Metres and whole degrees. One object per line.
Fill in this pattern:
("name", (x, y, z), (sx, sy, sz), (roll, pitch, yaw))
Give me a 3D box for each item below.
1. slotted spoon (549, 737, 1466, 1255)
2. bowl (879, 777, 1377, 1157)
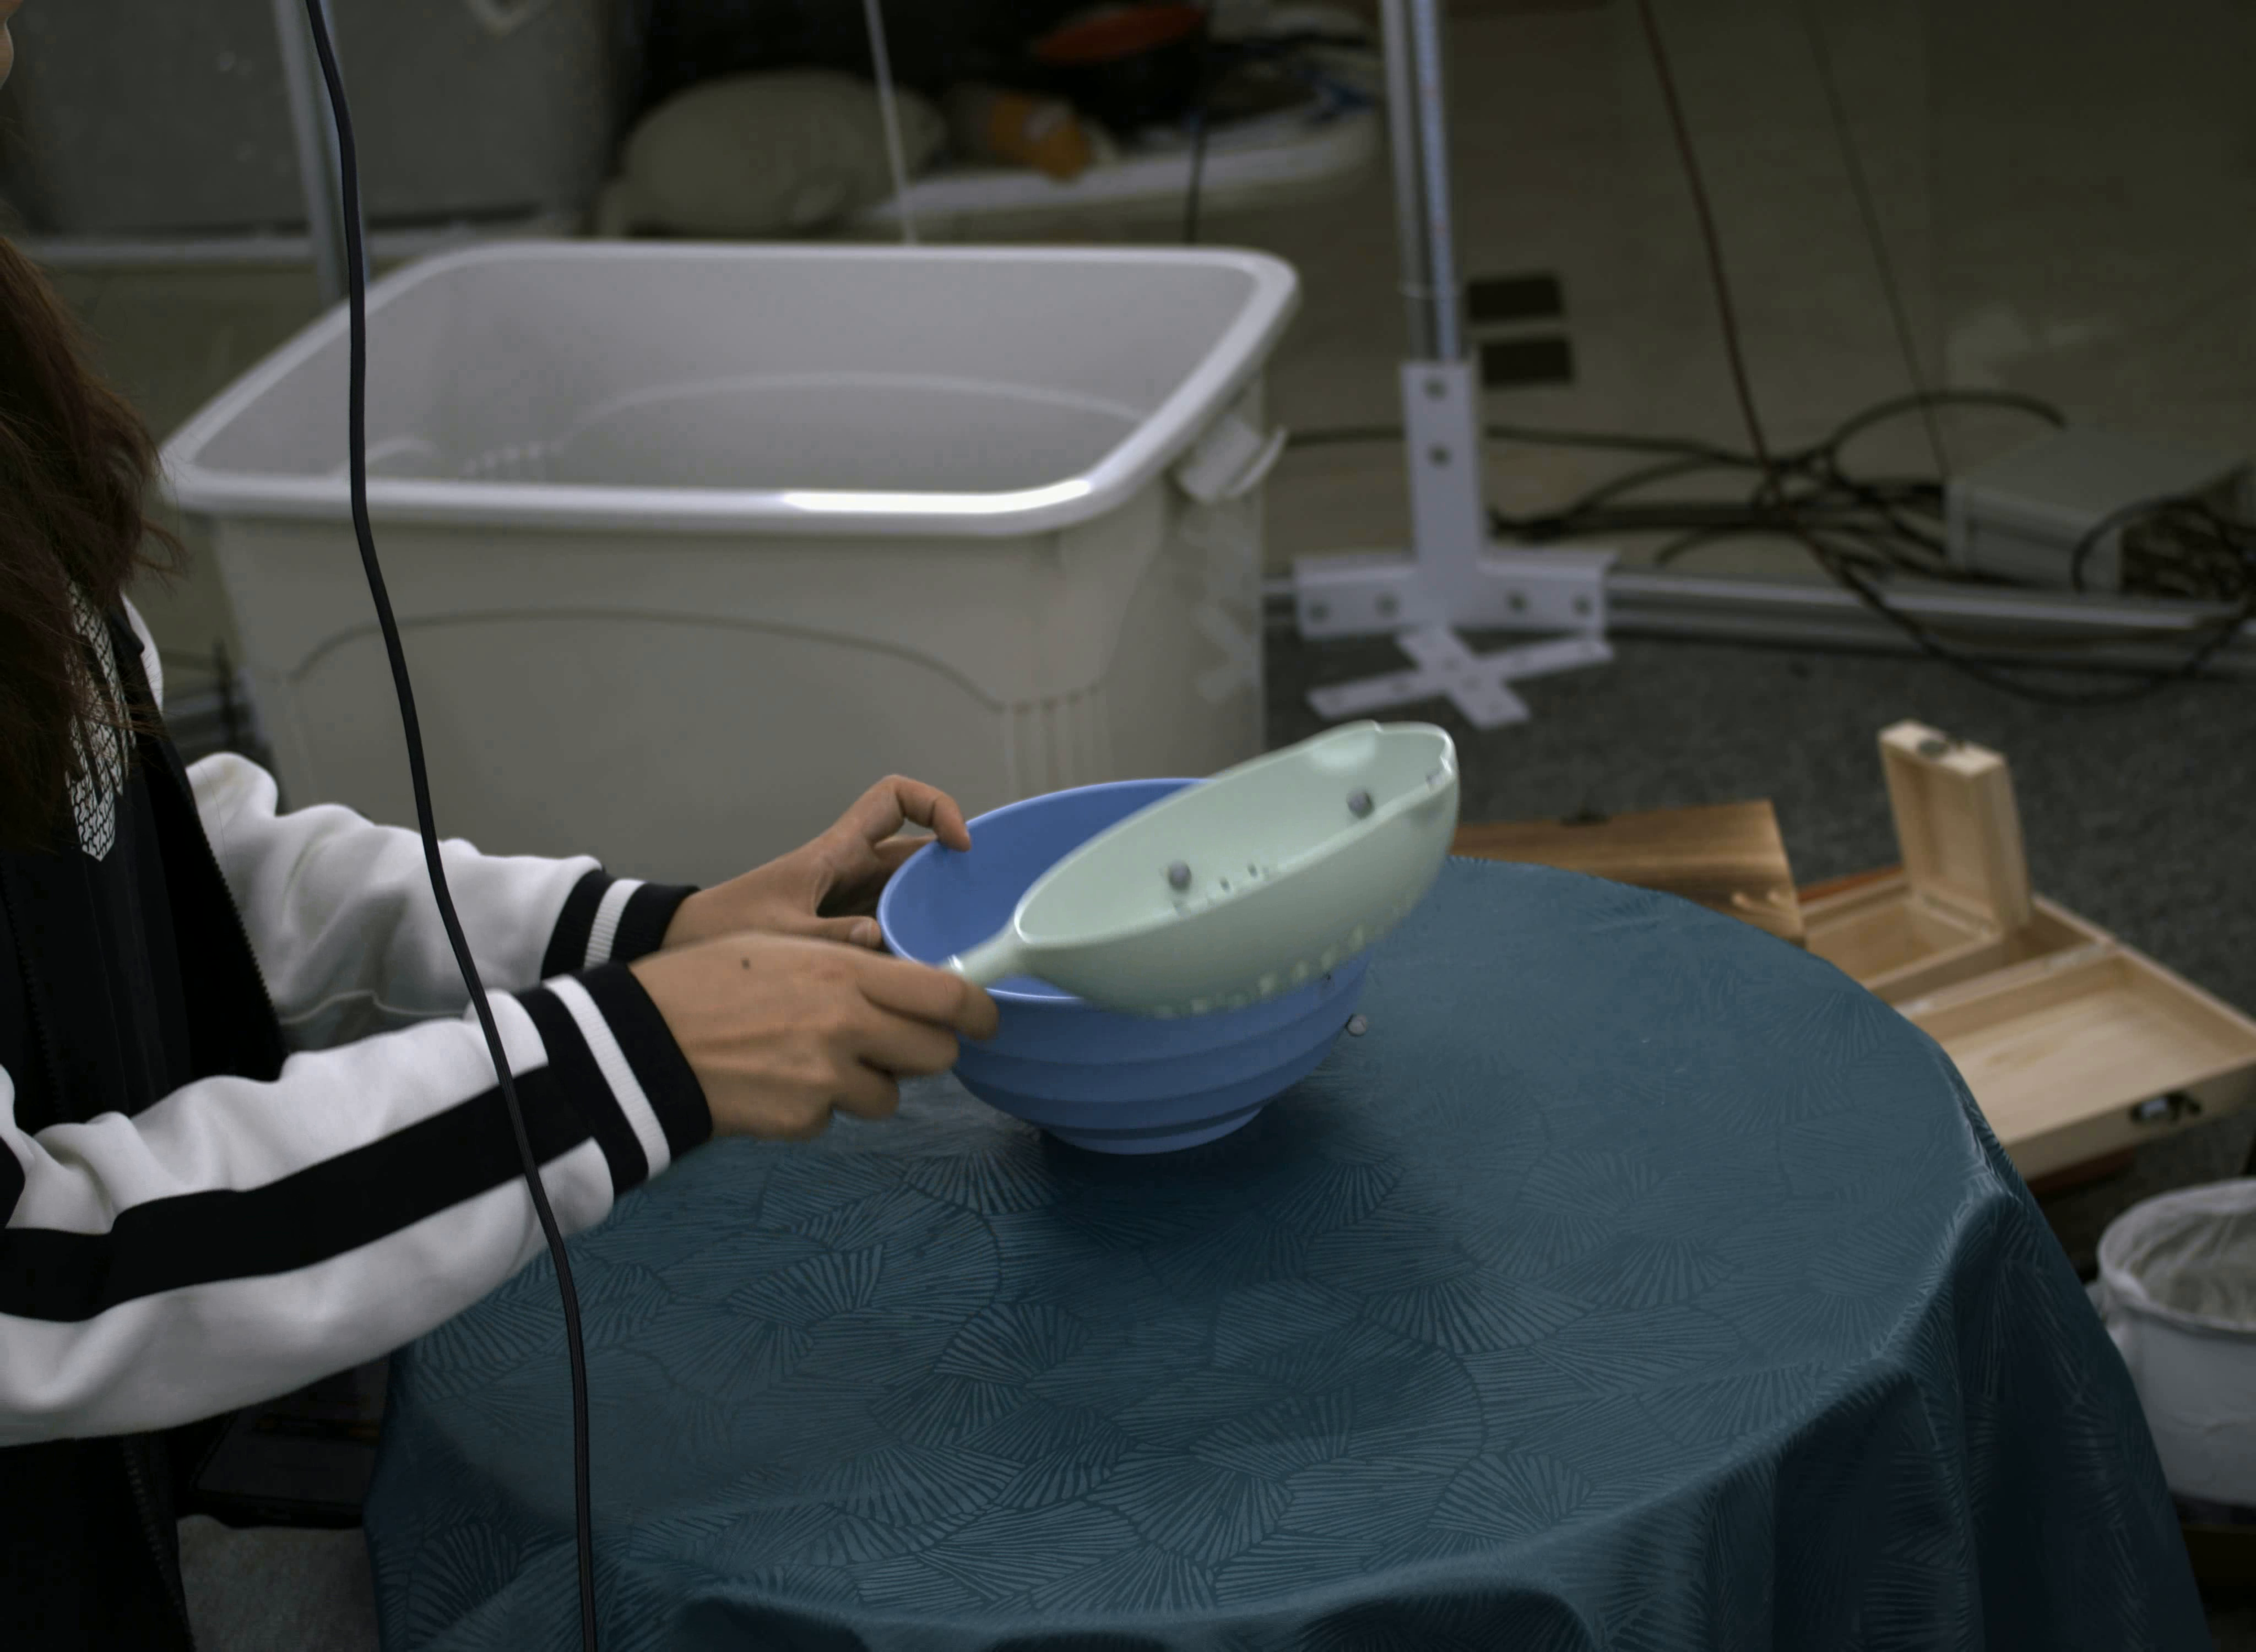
("slotted spoon", (-0.043, 0.061, 2.003), (0.358, 0.076, 0.168), (-18, 12, -8))
("bowl", (0.006, 0.065, 2.192), (0.196, 0.097, 0.193), (-6, 26, 3))
